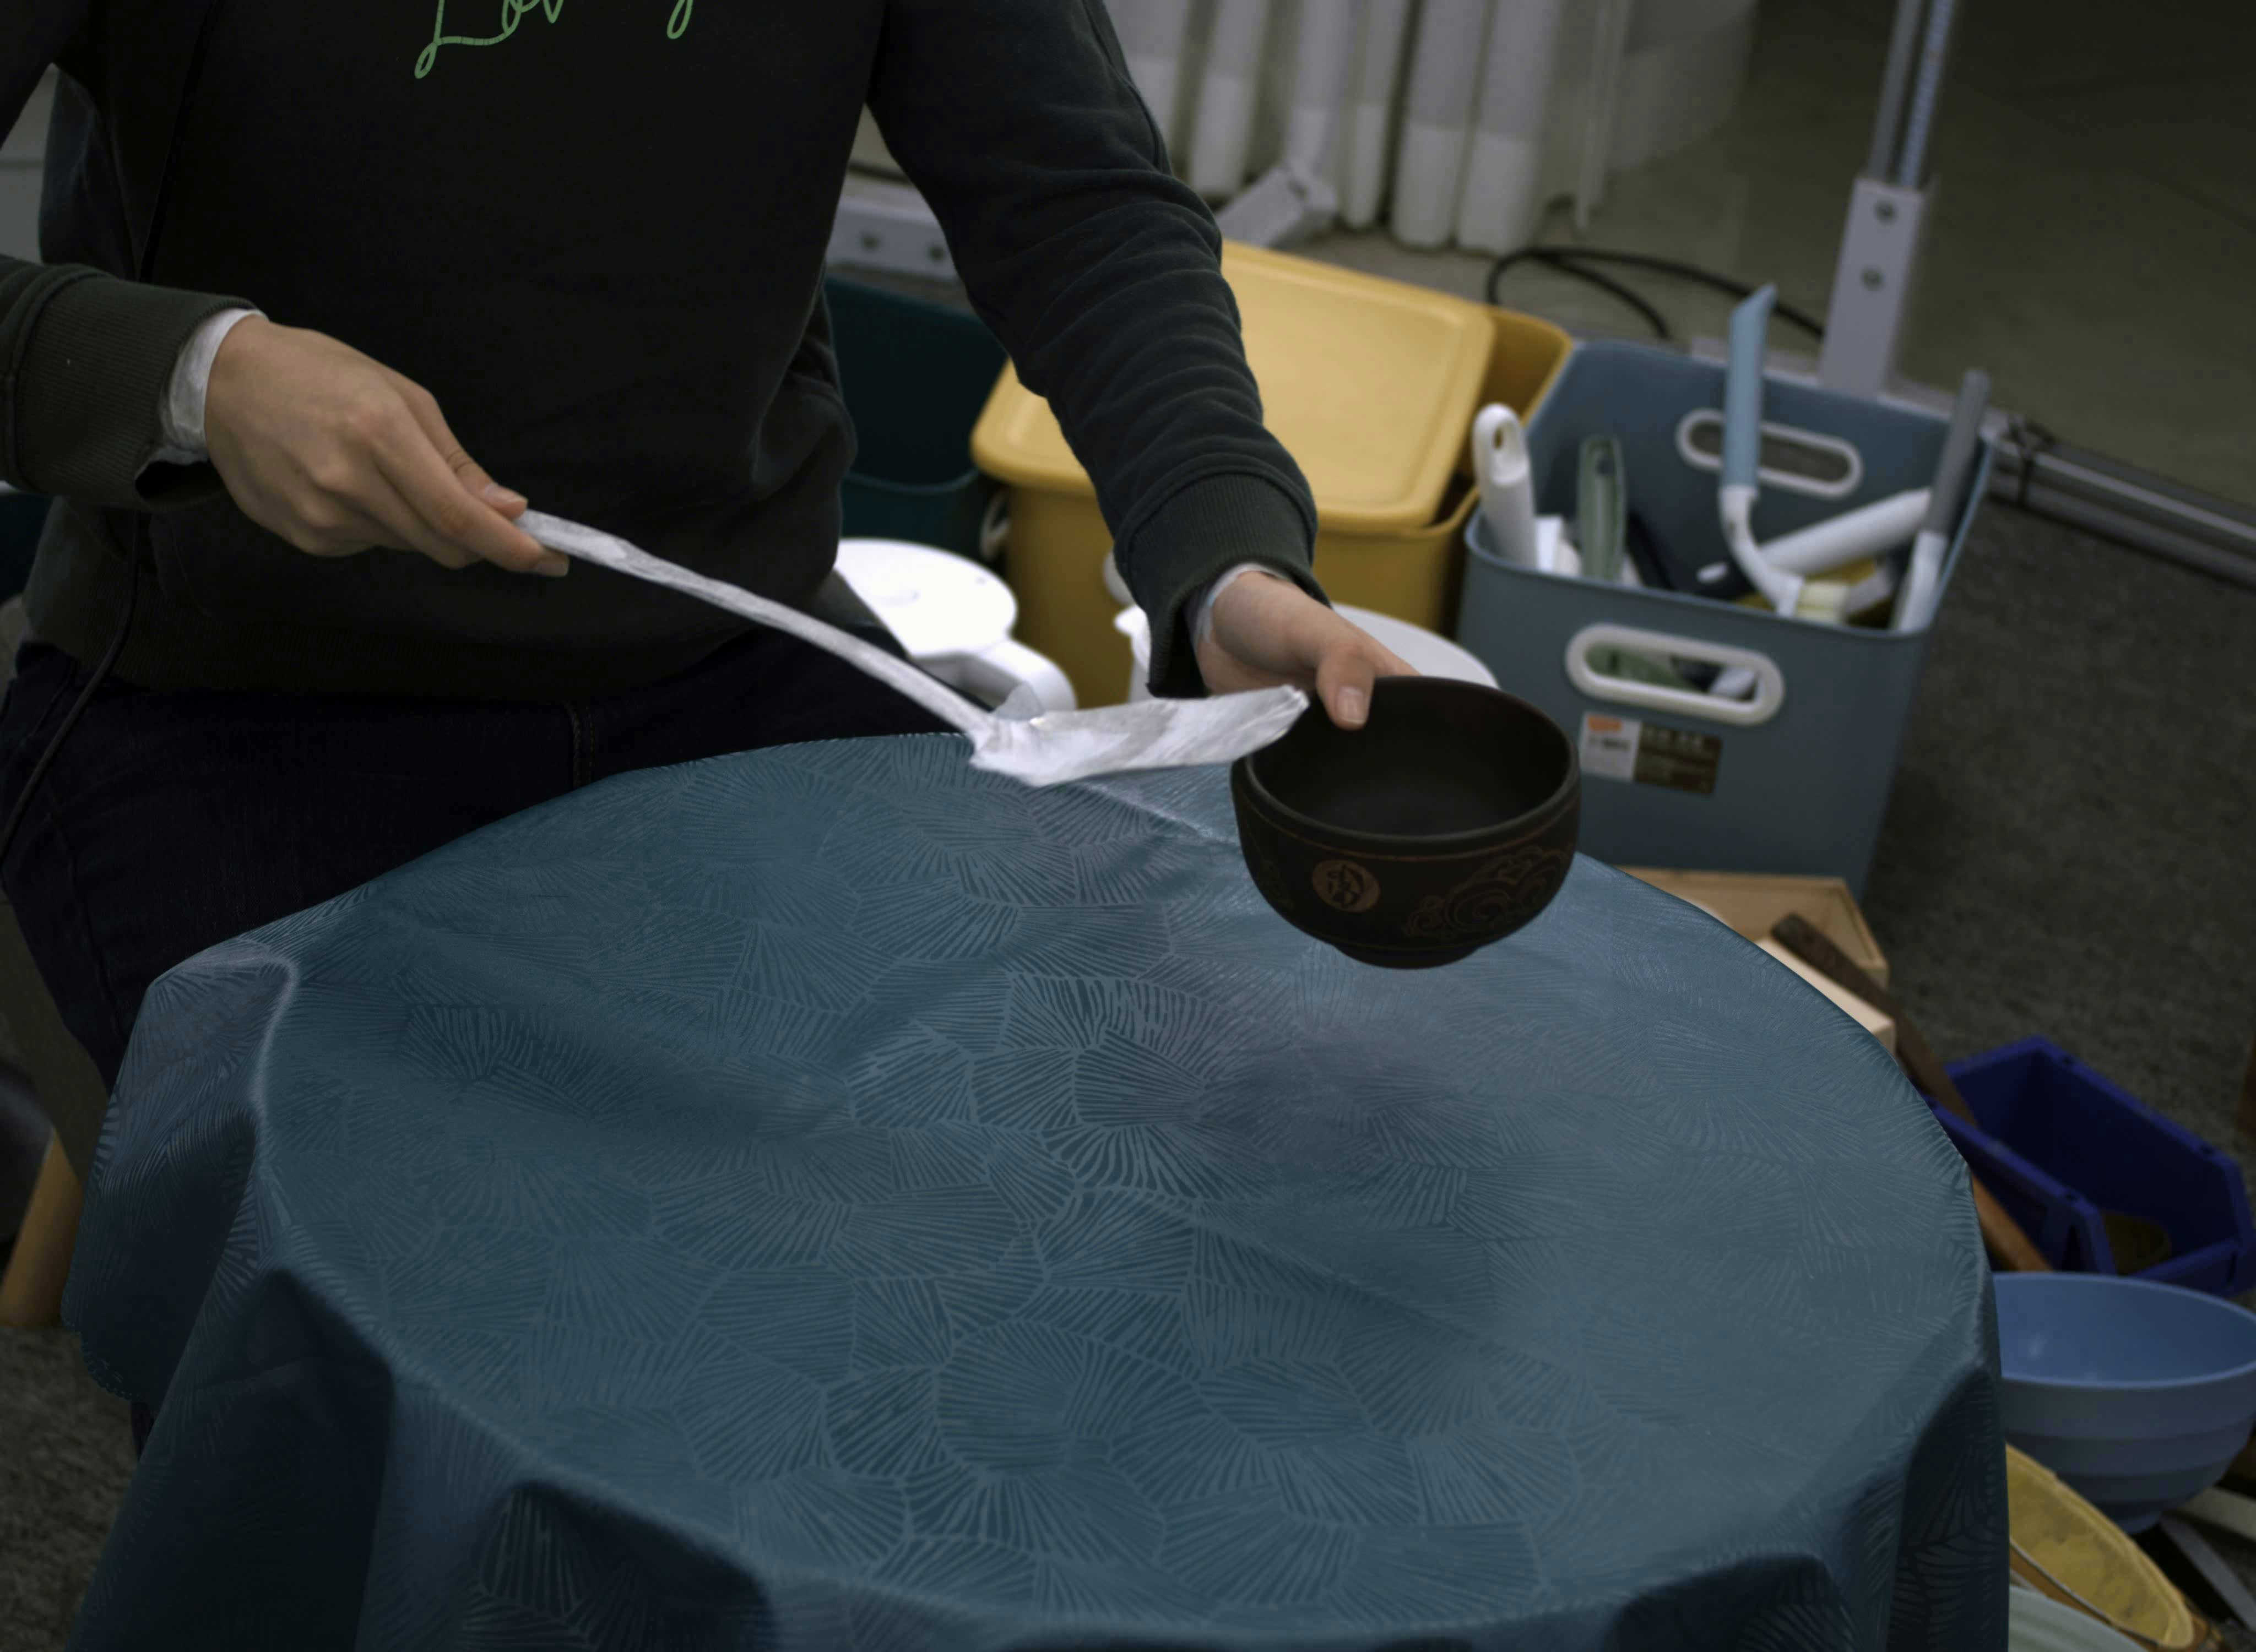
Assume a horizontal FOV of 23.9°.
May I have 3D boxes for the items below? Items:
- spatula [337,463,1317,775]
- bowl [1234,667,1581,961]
[{"bbox_3d":[-0.113,-0.076,1.754,0.366,0.044,0.098,21,26,20],"label":"spatula"},{"bbox_3d":[0.094,0.002,1.812,0.117,0.069,0.119,0,29,0],"label":"bowl"}]
